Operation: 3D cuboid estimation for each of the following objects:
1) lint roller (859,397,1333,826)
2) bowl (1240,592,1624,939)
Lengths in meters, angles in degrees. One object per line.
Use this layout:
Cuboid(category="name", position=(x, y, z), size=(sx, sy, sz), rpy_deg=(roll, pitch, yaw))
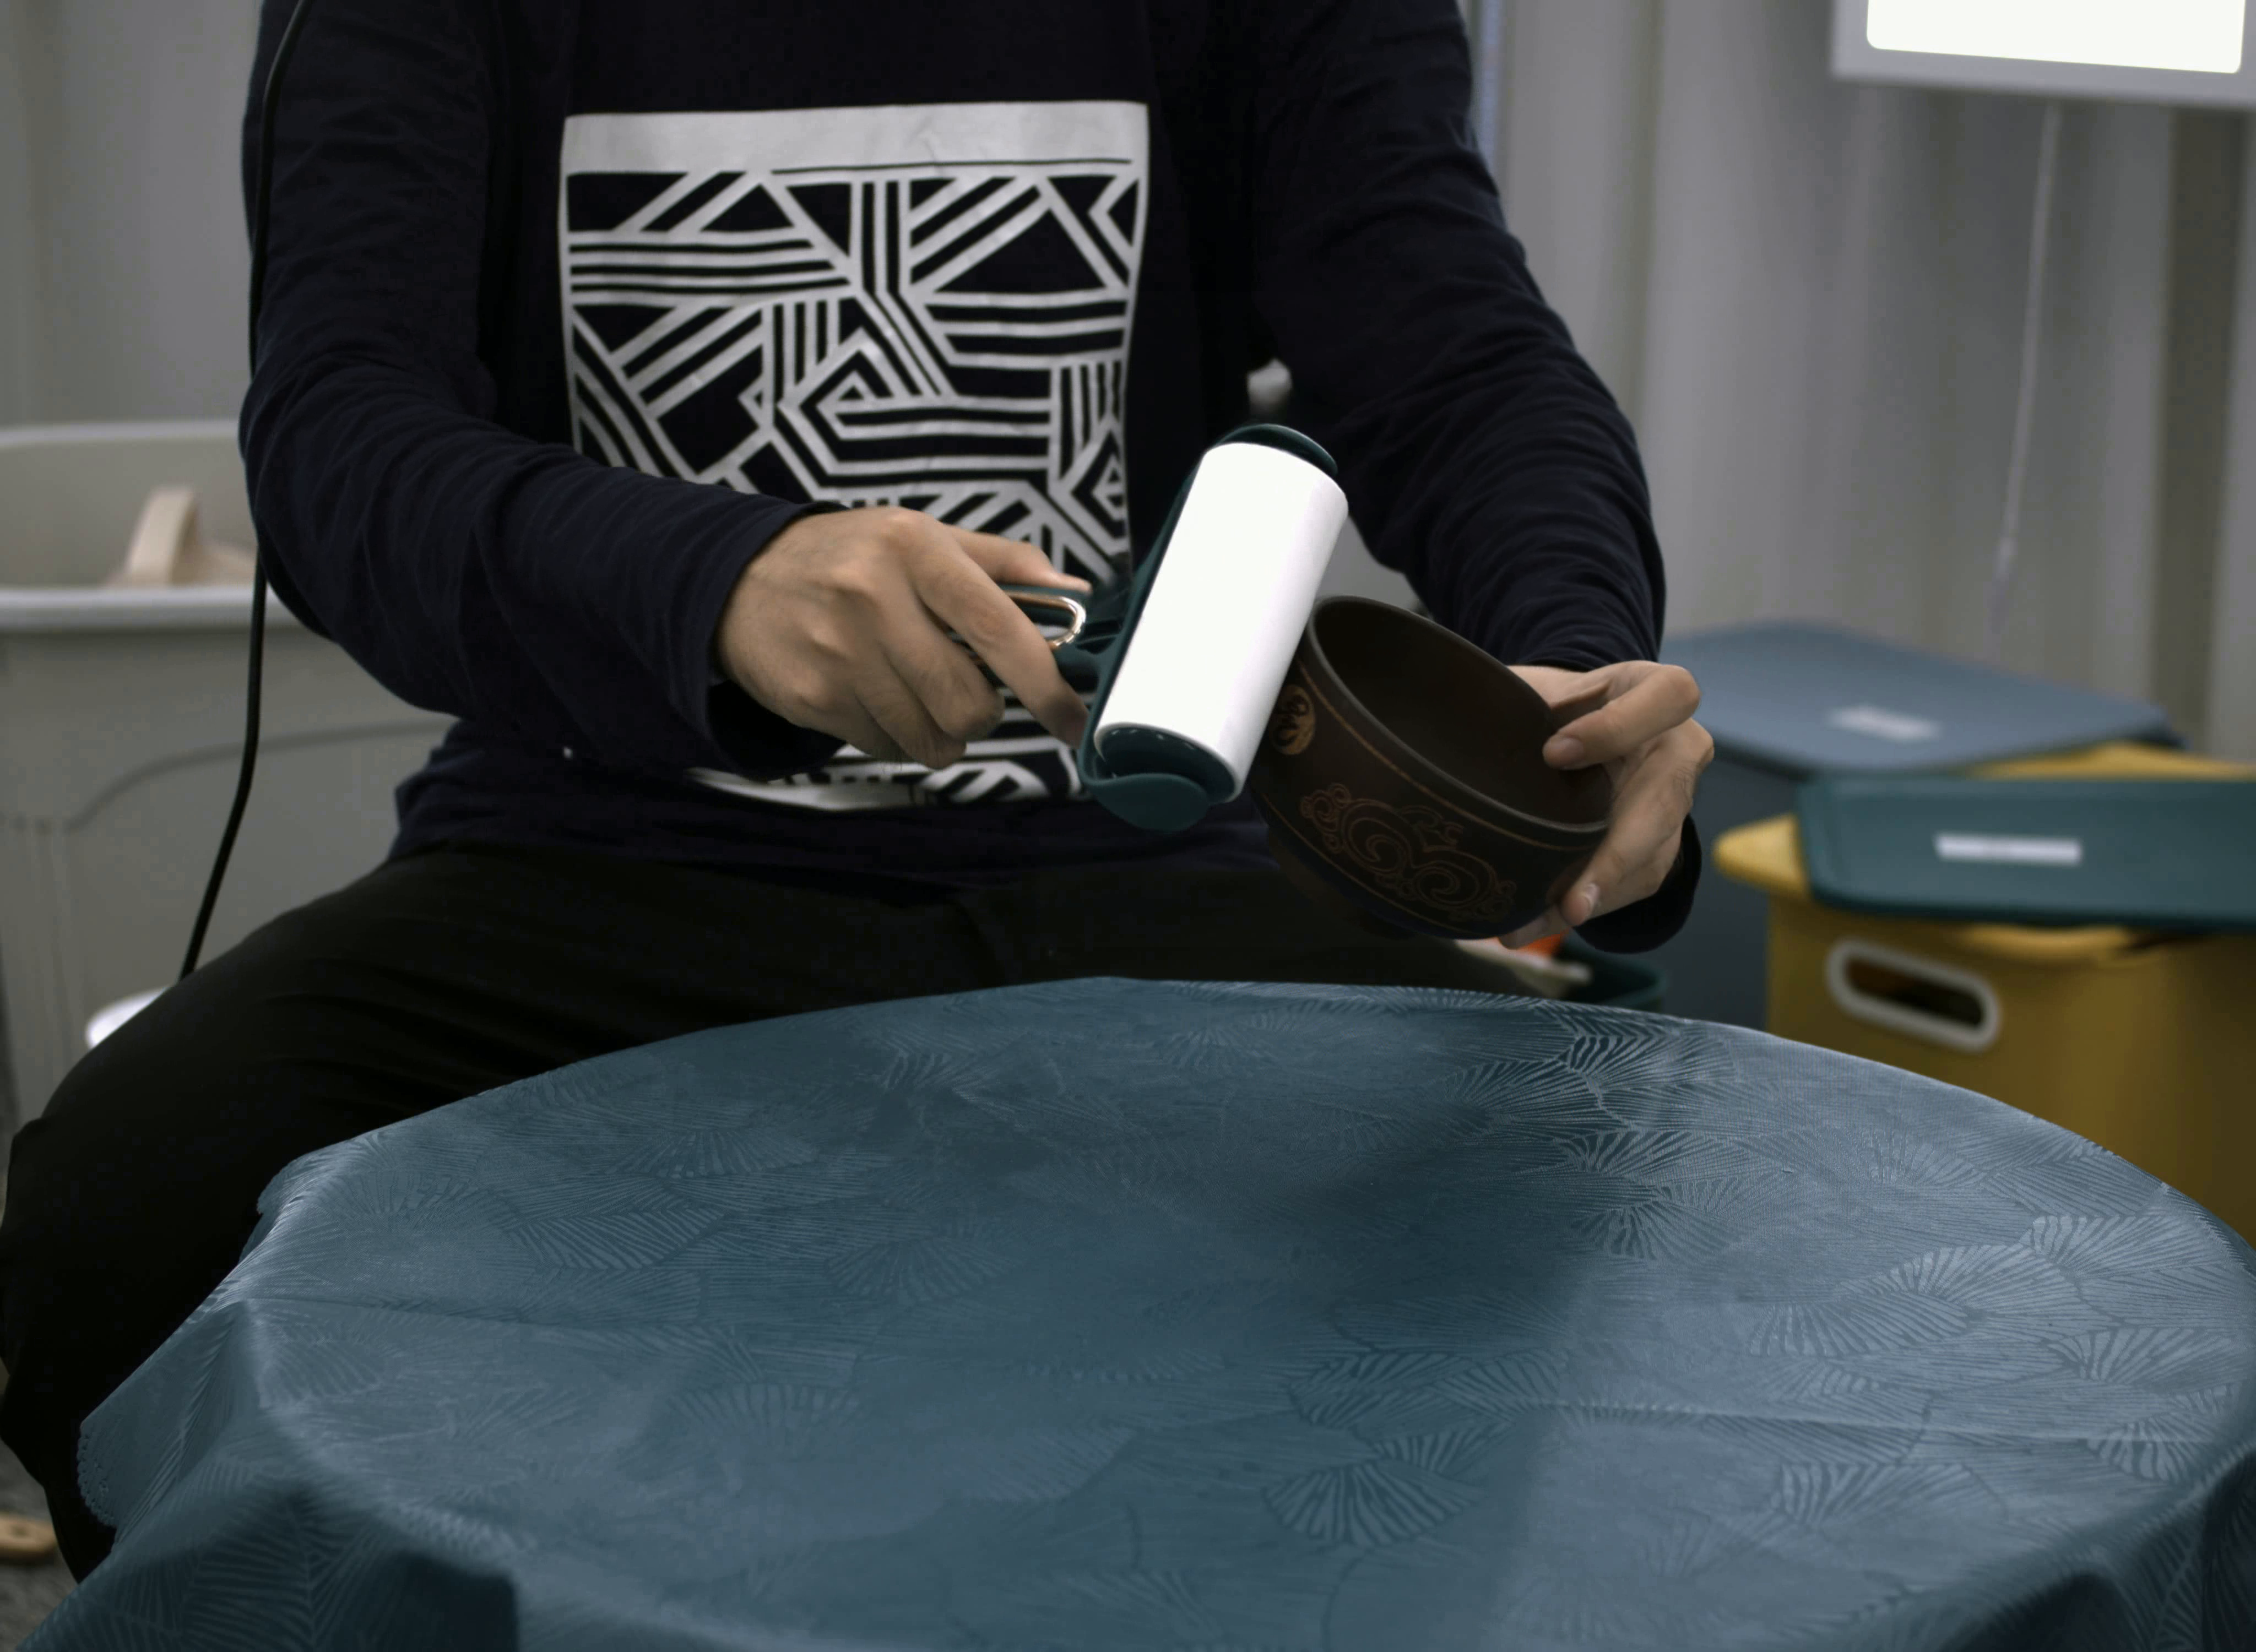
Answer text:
Cuboid(category="lint roller", position=(-0.026, -0.062, 1.605), size=(0.178, 0.134, 0.049), rpy_deg=(0, -30, 39))
Cuboid(category="bowl", position=(0.085, -0.010, 1.602), size=(0.118, 0.070, 0.117), rpy_deg=(28, 22, -11))
